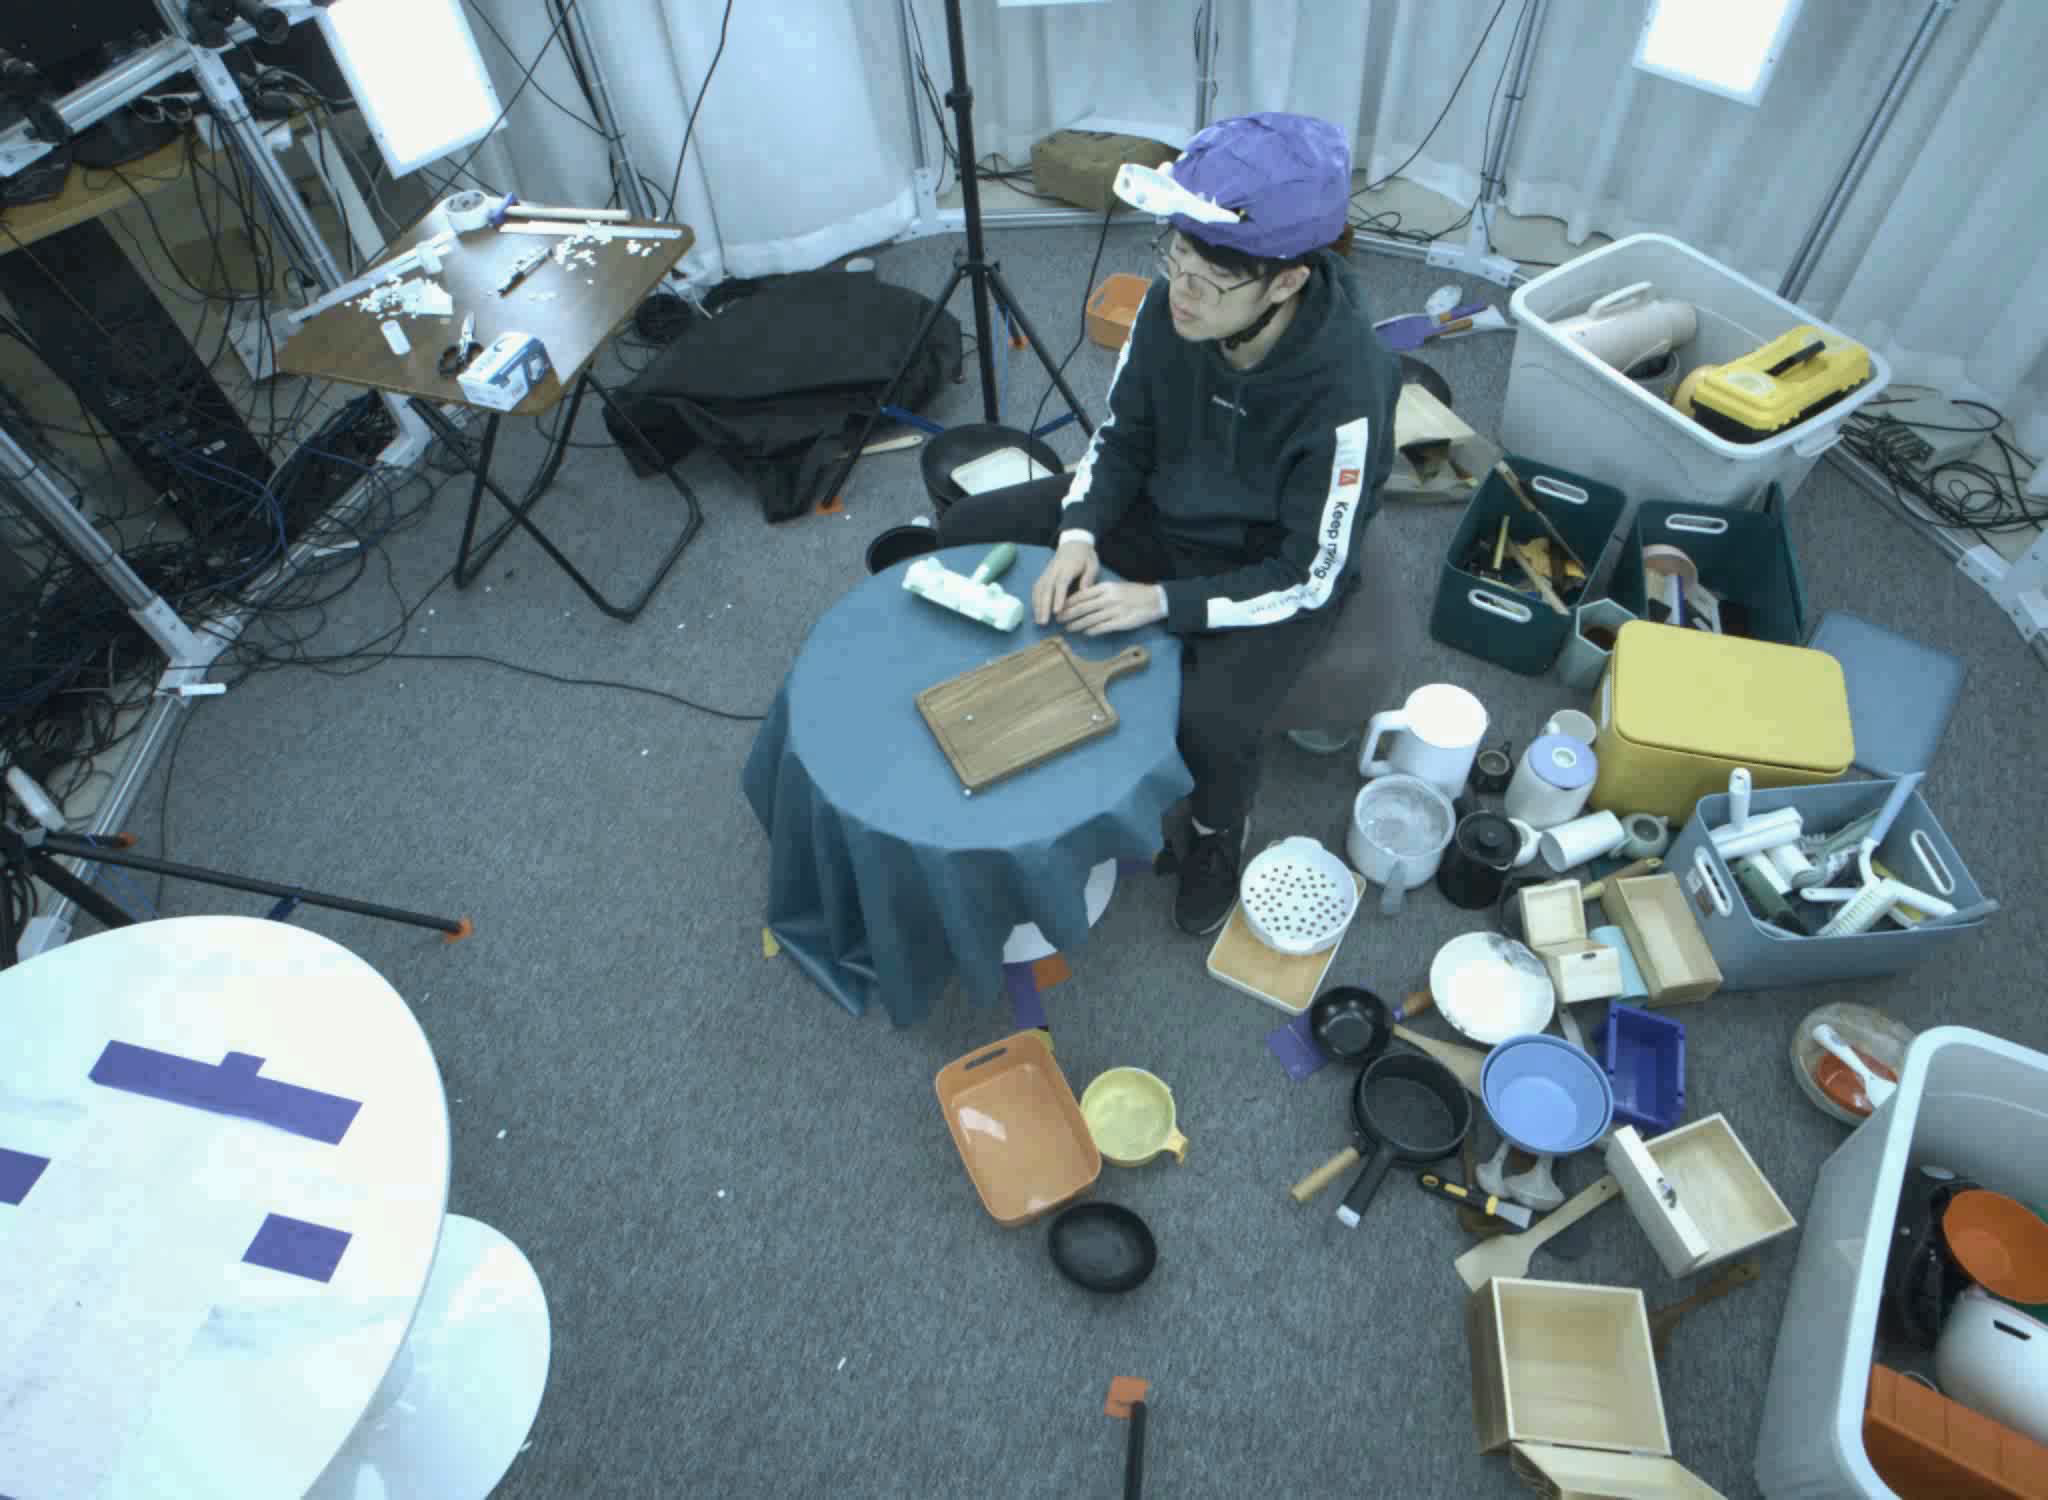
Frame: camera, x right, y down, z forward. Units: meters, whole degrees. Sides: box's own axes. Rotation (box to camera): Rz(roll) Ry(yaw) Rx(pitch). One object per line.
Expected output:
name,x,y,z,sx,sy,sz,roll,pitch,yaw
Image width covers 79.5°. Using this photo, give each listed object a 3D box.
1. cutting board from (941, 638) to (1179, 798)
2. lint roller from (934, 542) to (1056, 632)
cutting board,0.073,-0.071,1.818,0.355,0.023,0.197,-23,57,-14
lint roller,-0.016,-0.285,1.939,0.195,0.083,0.184,27,64,20
